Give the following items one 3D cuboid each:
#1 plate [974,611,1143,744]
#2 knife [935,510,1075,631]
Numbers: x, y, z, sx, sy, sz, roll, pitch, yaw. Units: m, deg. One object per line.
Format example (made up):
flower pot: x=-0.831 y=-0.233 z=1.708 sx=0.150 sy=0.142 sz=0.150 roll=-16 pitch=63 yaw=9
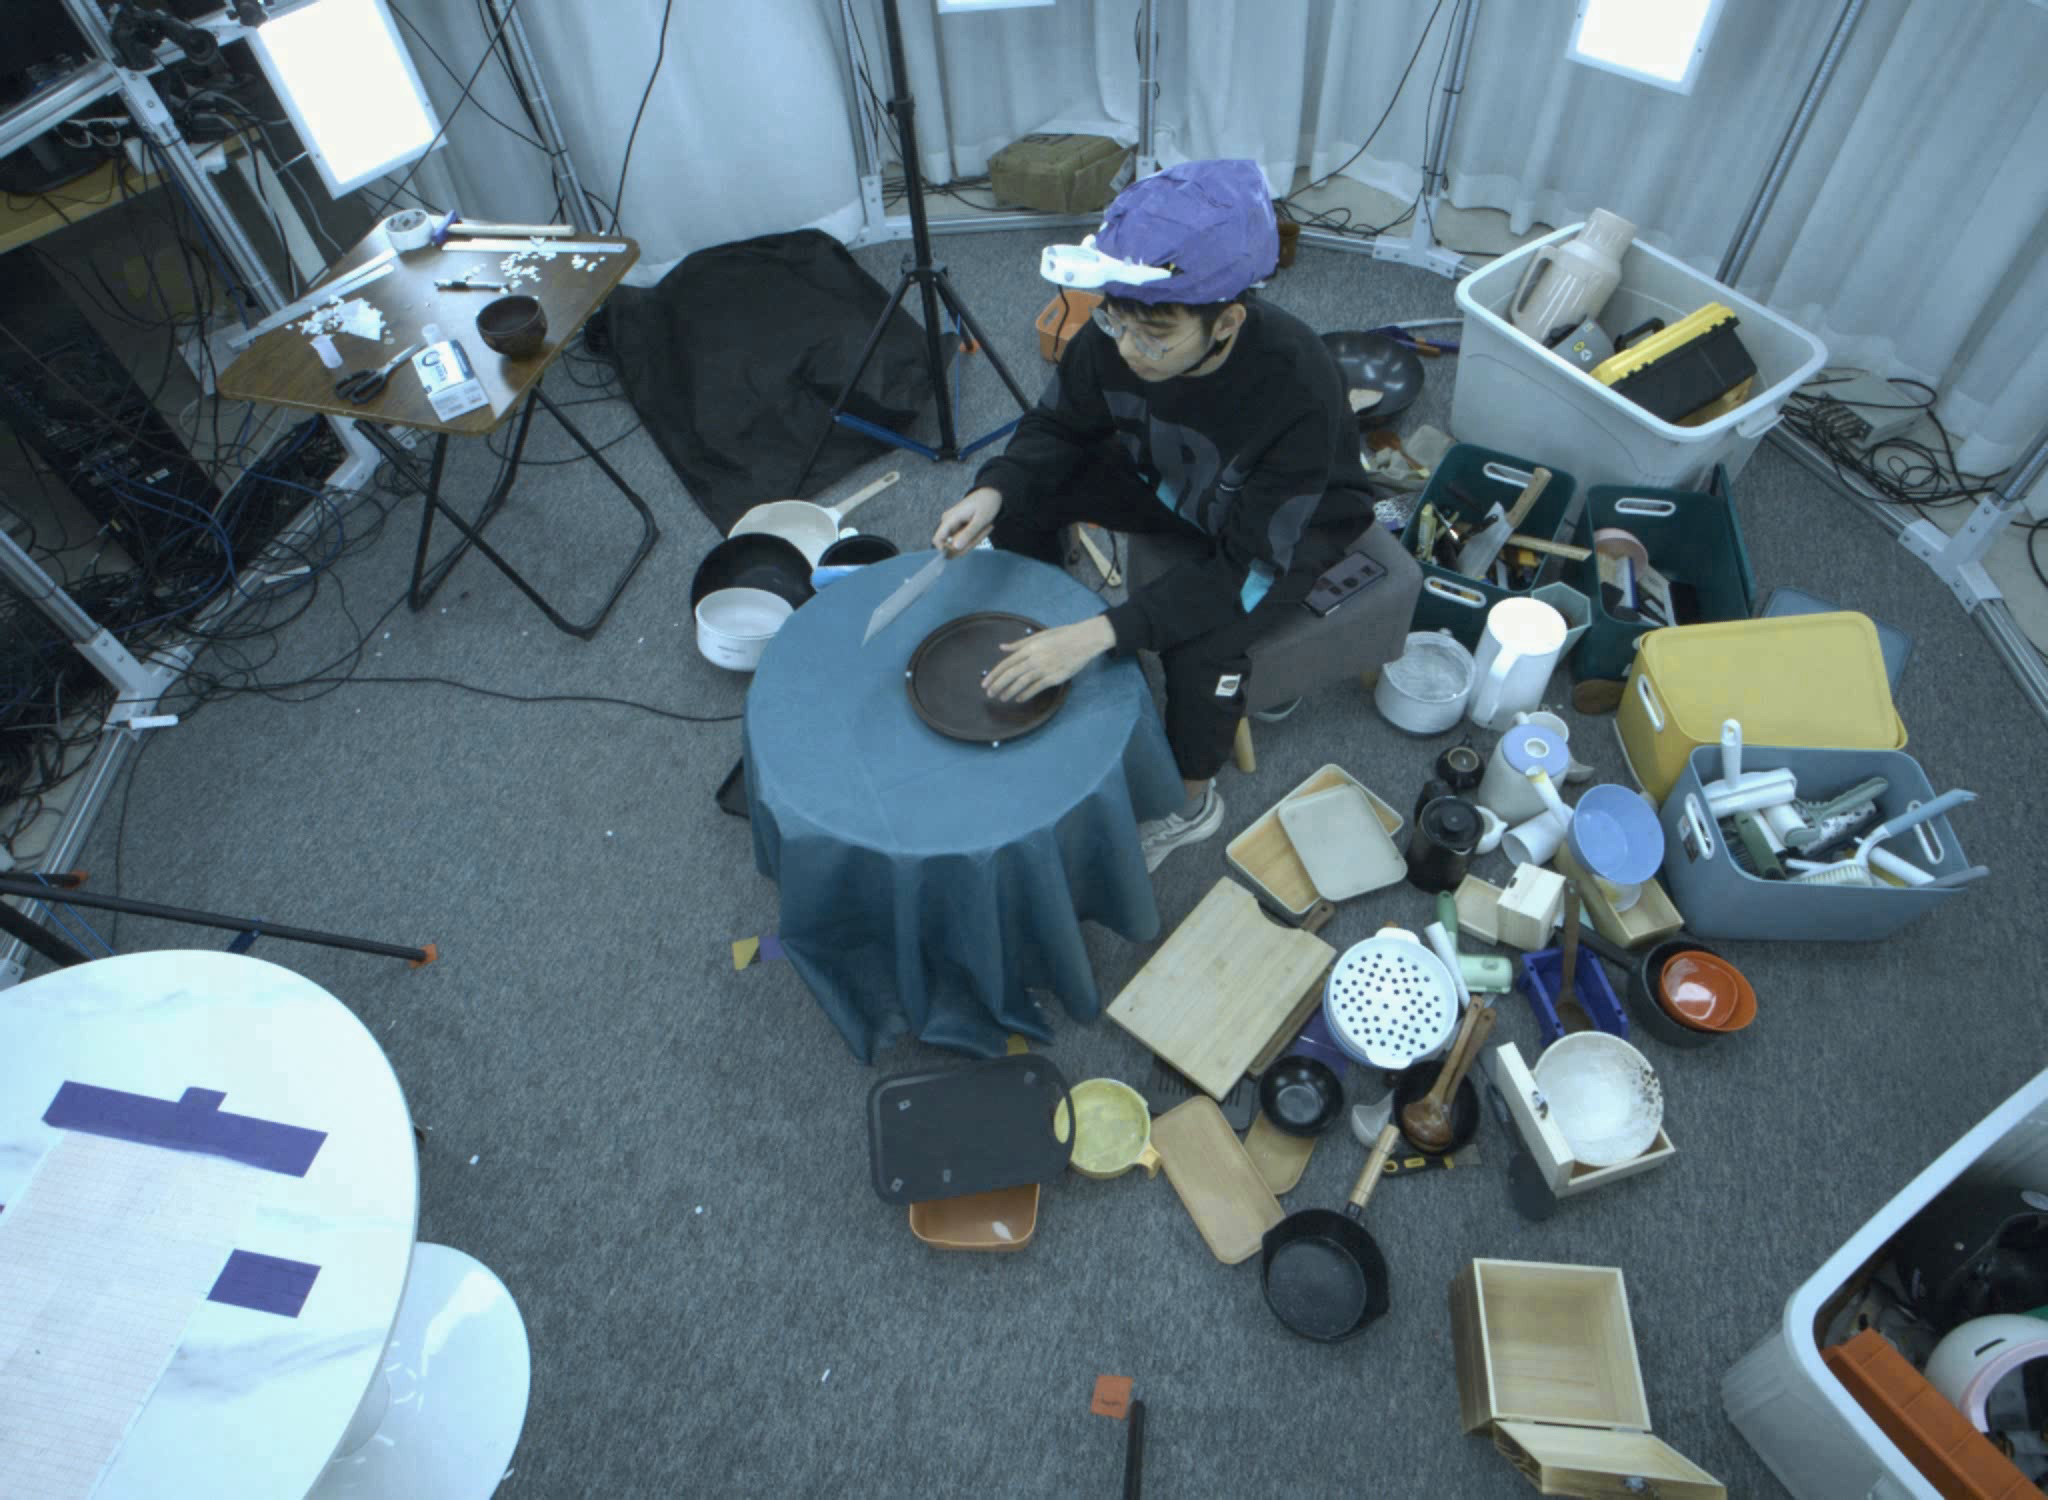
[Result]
plate: x=0.052 y=-0.110 z=1.847 sx=0.254 sy=0.029 sz=0.252 roll=-2 pitch=54 yaw=3
knife: x=-0.030 y=-0.270 z=1.862 sx=0.021 sy=0.092 sz=0.308 roll=43 pitch=55 yaw=6
